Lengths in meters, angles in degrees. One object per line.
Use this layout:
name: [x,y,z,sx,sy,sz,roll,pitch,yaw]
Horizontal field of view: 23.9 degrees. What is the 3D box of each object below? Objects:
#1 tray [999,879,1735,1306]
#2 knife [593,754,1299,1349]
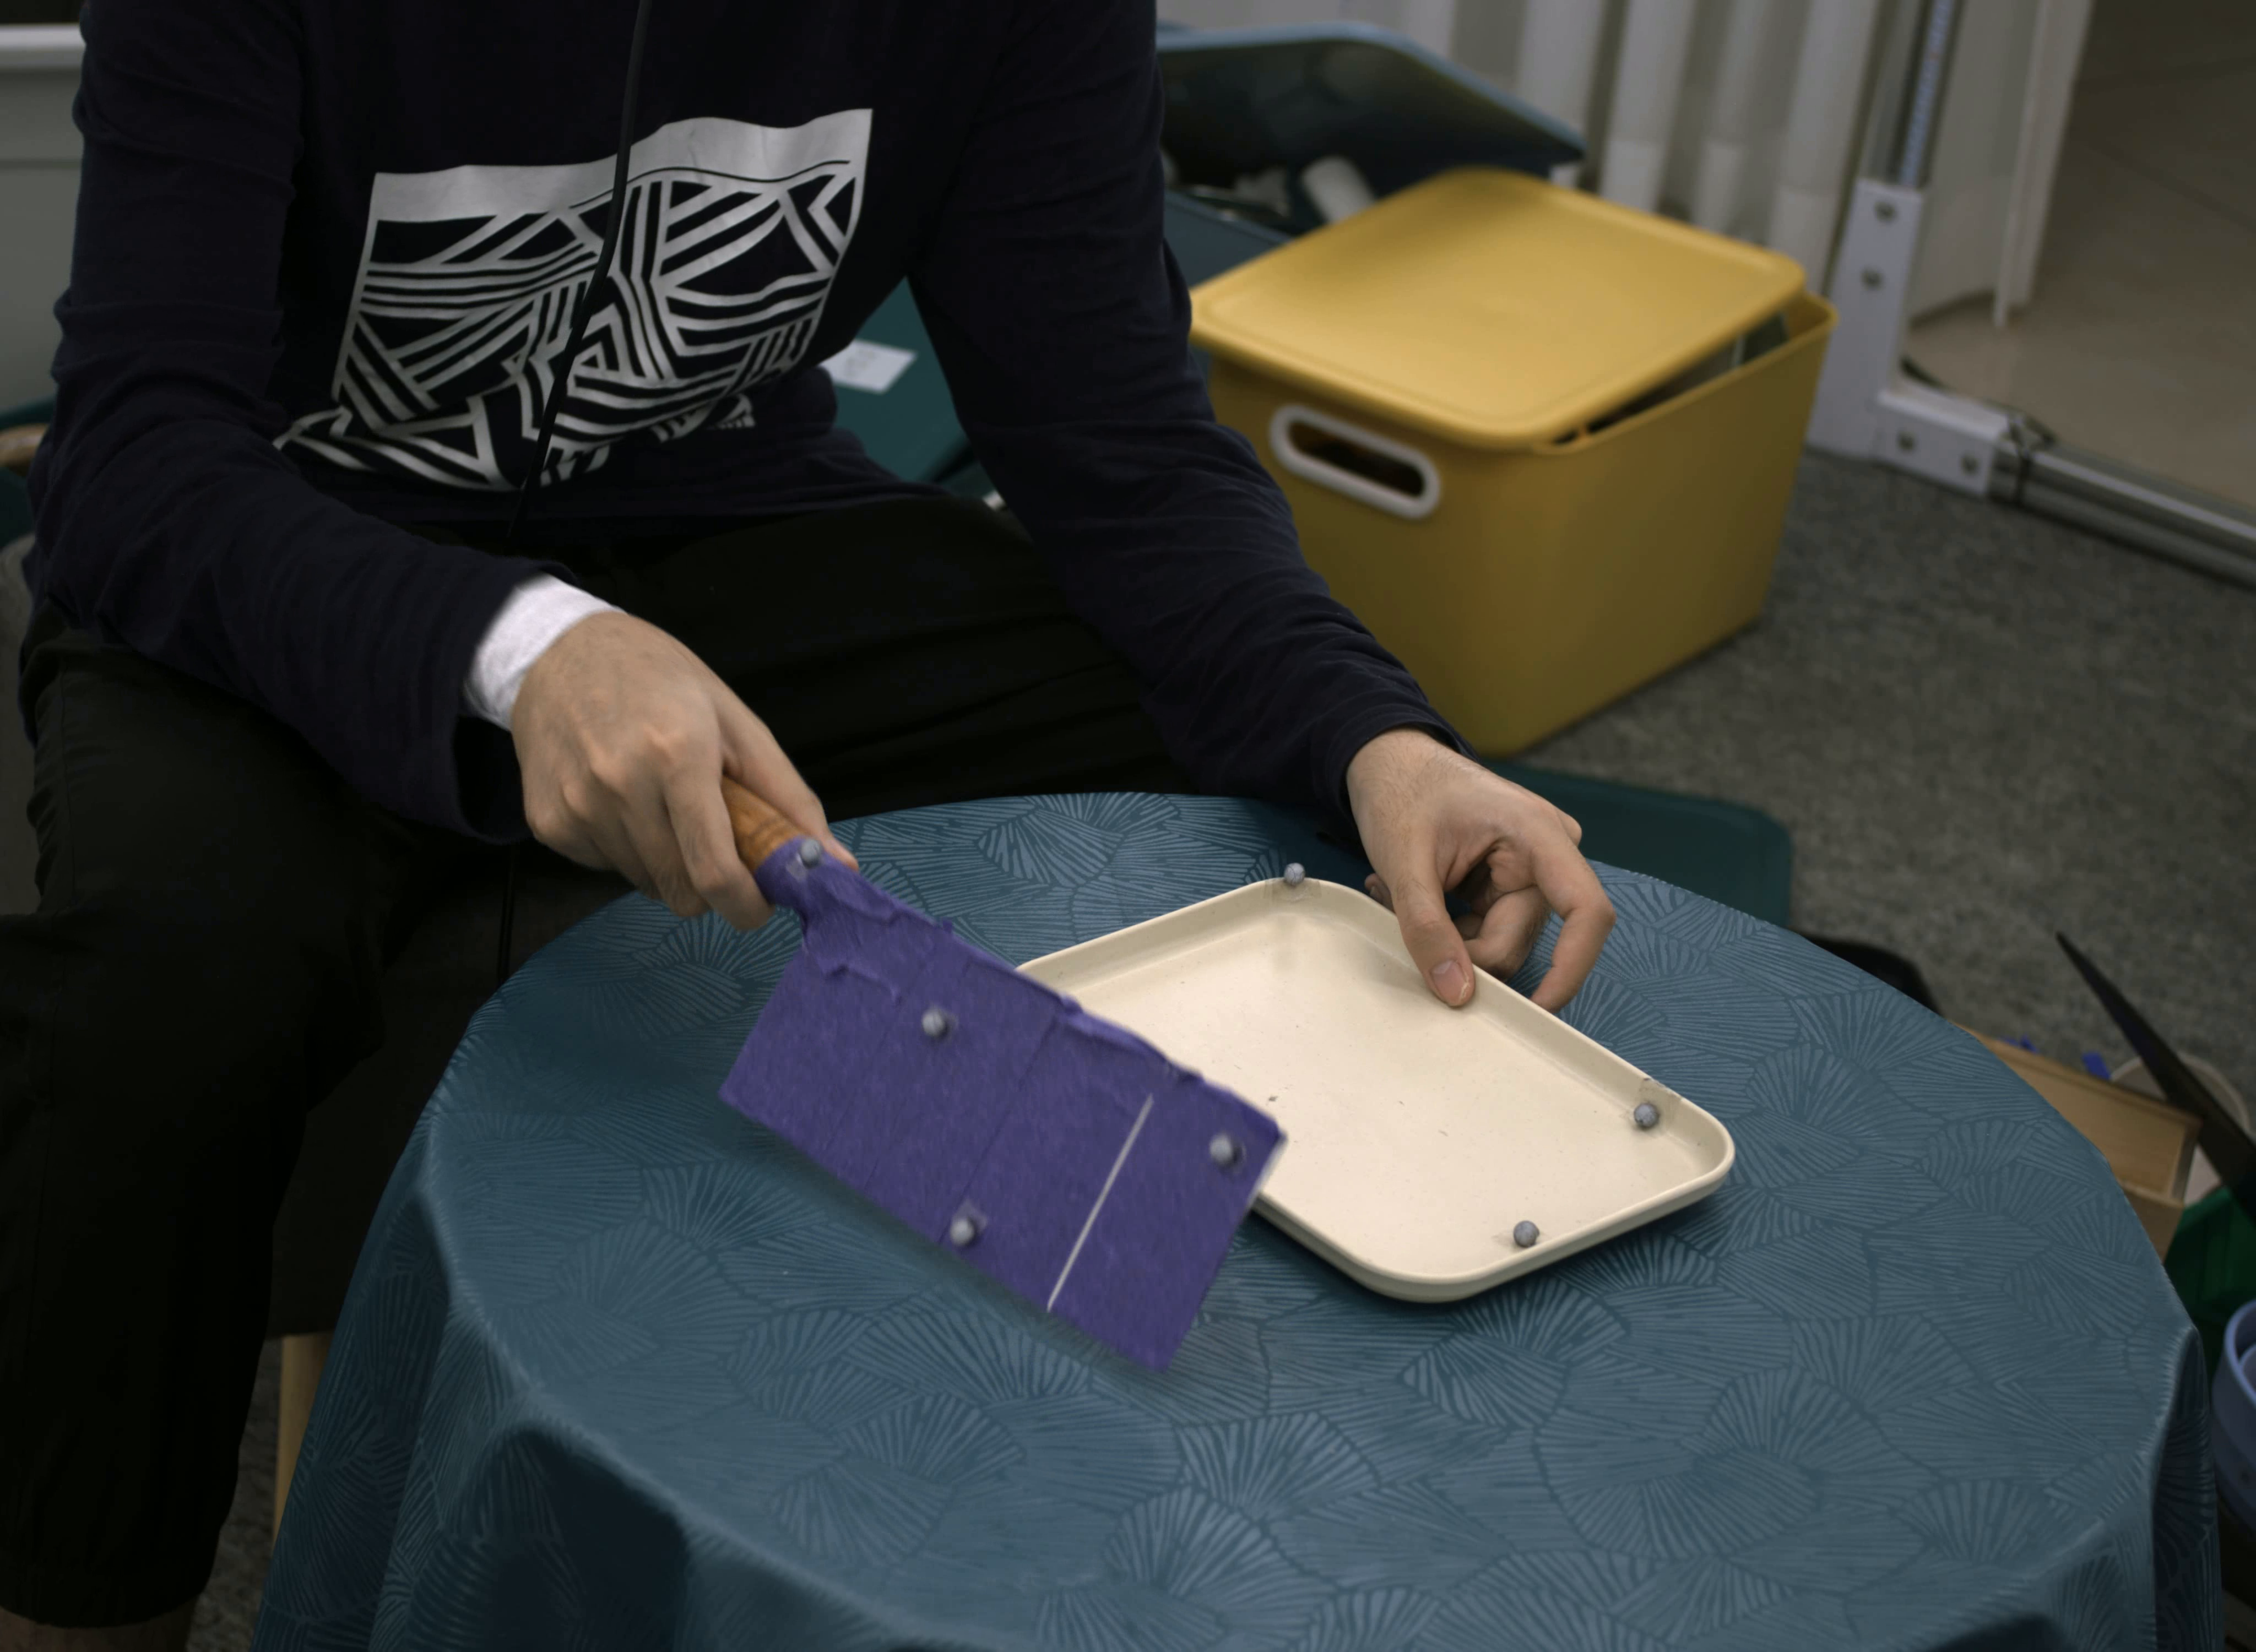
tray: [0.081,0.091,1.862,0.170,0.017,0.242,-19,36,-35]
knife: [-0.081,0.073,1.769,0.317,0.104,0.032,29,-1,37]
